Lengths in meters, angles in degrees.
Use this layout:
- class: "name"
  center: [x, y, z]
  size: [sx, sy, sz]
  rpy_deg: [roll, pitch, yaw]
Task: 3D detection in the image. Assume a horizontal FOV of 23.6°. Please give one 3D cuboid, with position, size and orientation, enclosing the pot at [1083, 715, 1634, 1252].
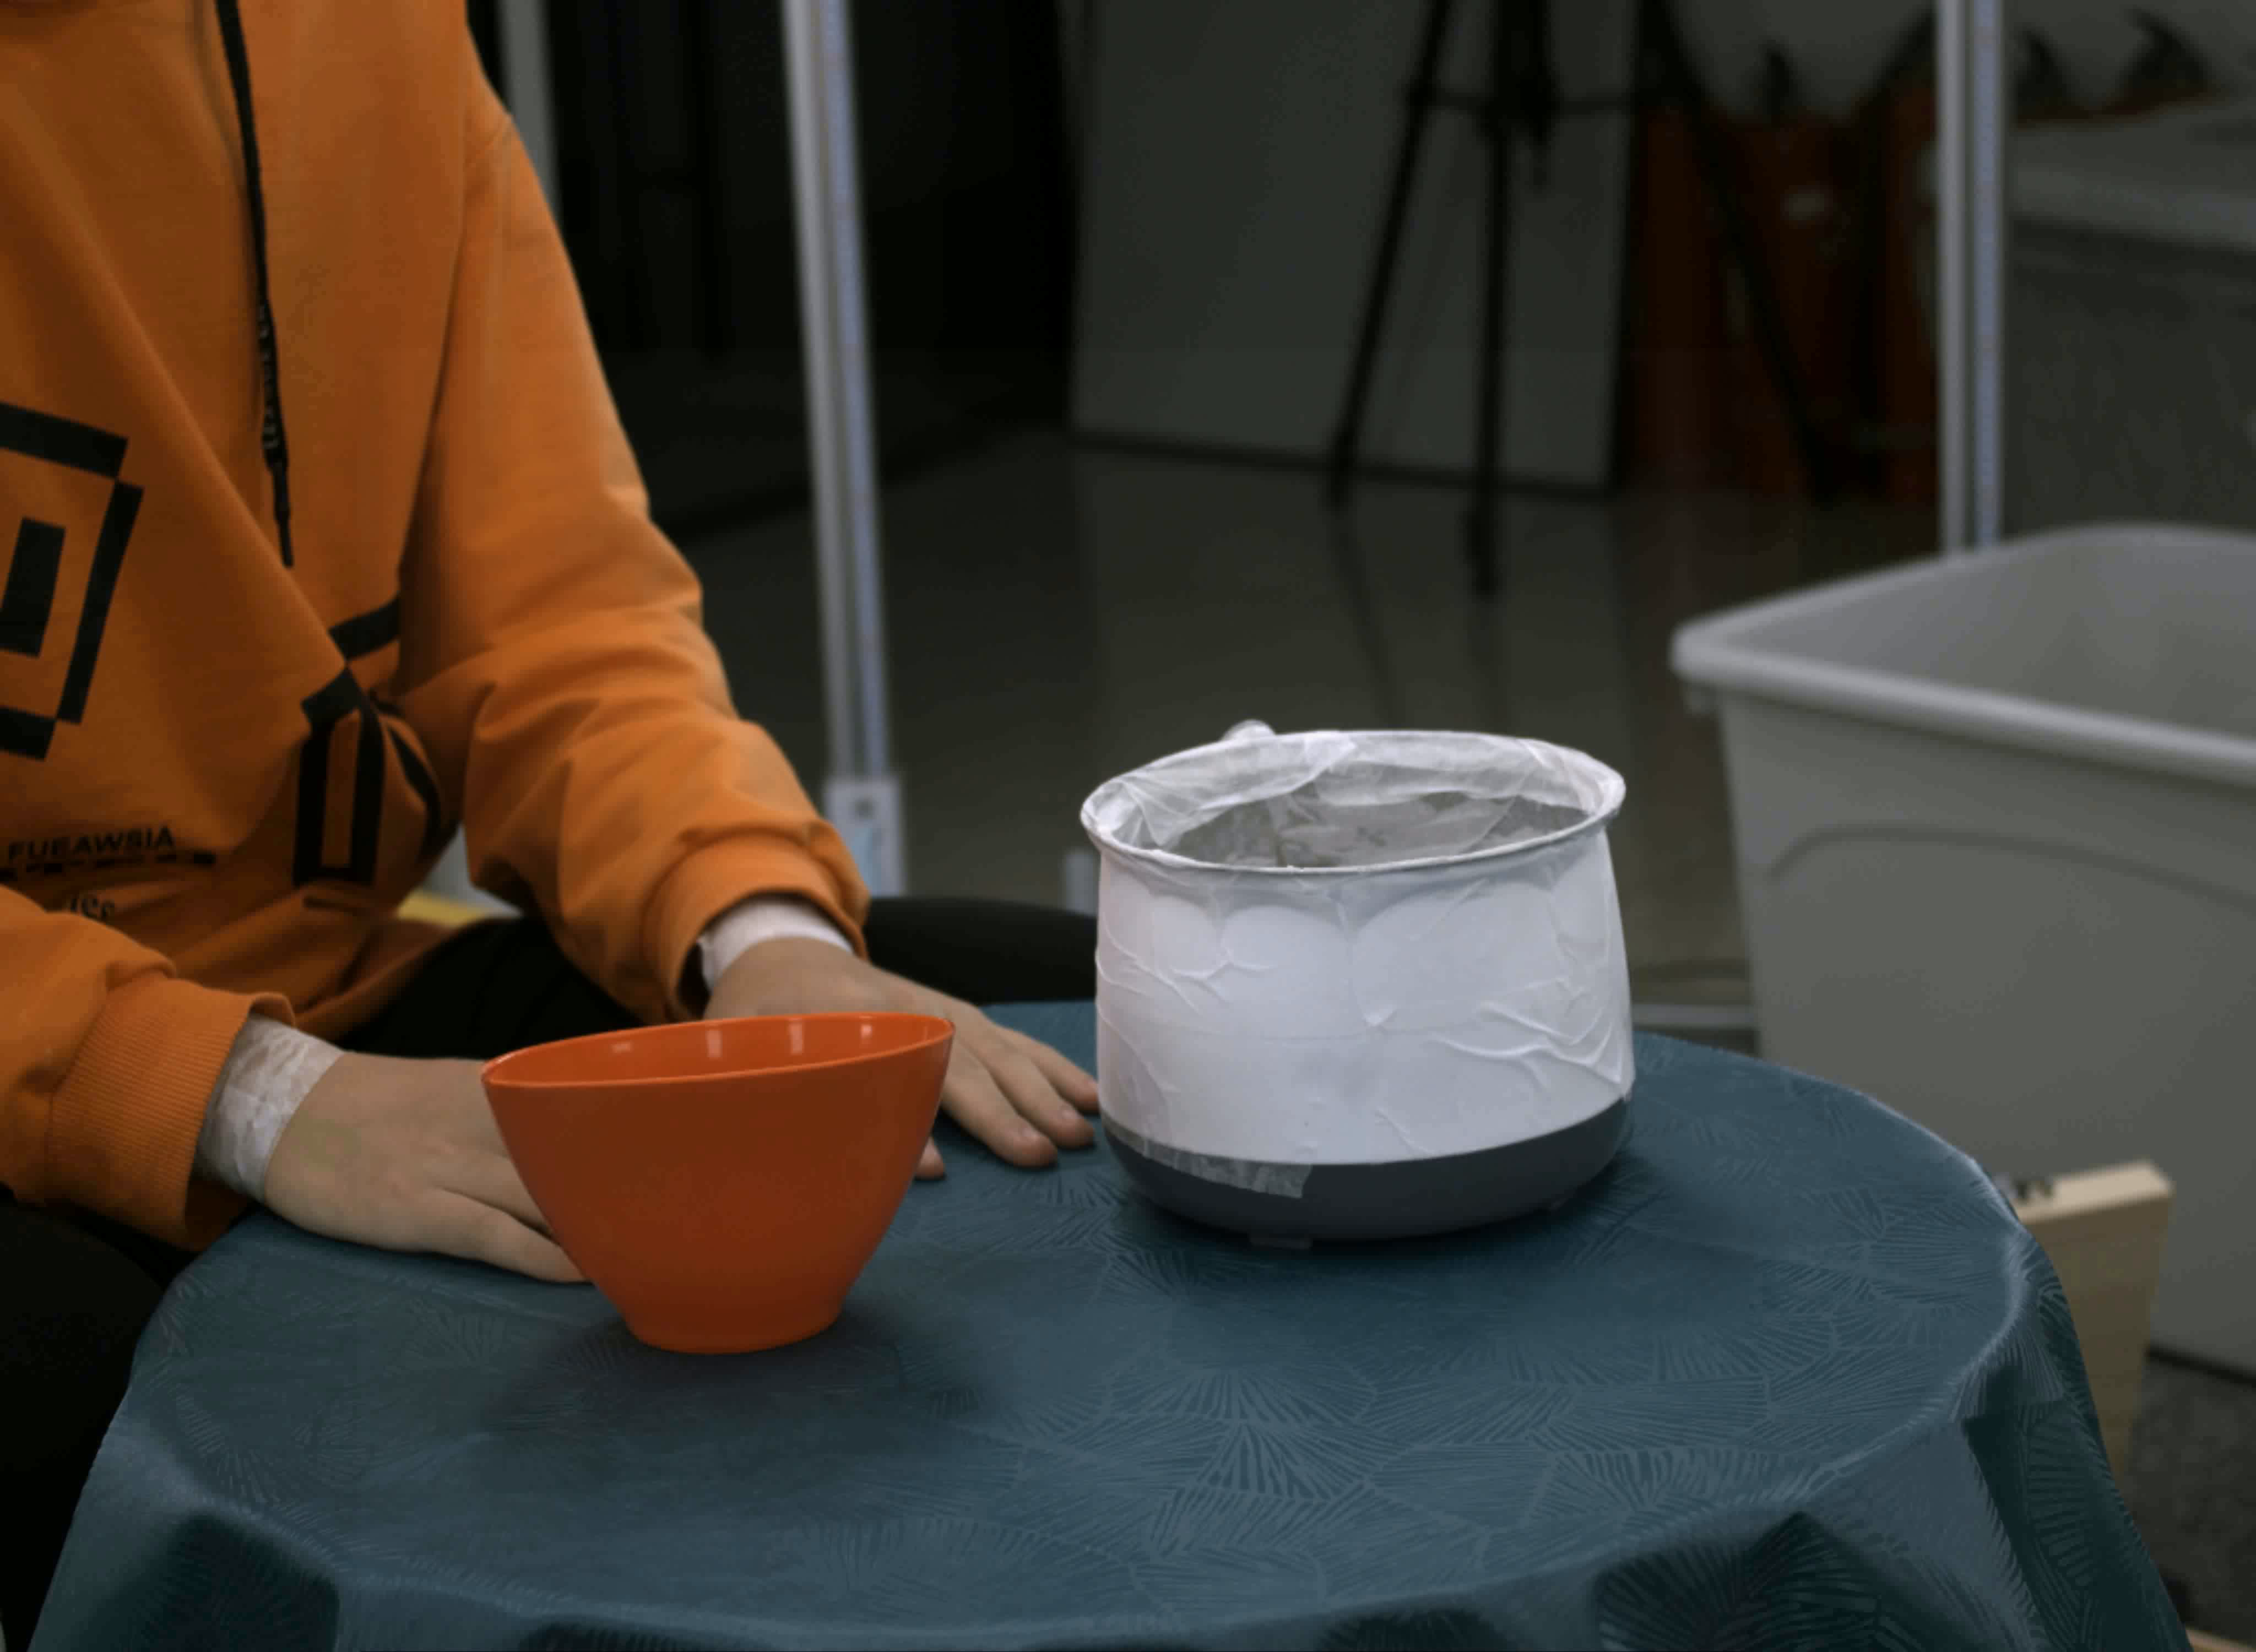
- class: "pot"
  center: [0.066, 0.045, 1.771]
  size: [0.175, 0.138, 0.236]
  rpy_deg: [-8, 14, -17]

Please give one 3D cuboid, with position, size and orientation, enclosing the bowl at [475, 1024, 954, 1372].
- class: "bowl"
  center: [-0.123, 0.110, 1.651]
  size: [0.146, 0.106, 0.148]
  rpy_deg: [-4, 12, 0]
